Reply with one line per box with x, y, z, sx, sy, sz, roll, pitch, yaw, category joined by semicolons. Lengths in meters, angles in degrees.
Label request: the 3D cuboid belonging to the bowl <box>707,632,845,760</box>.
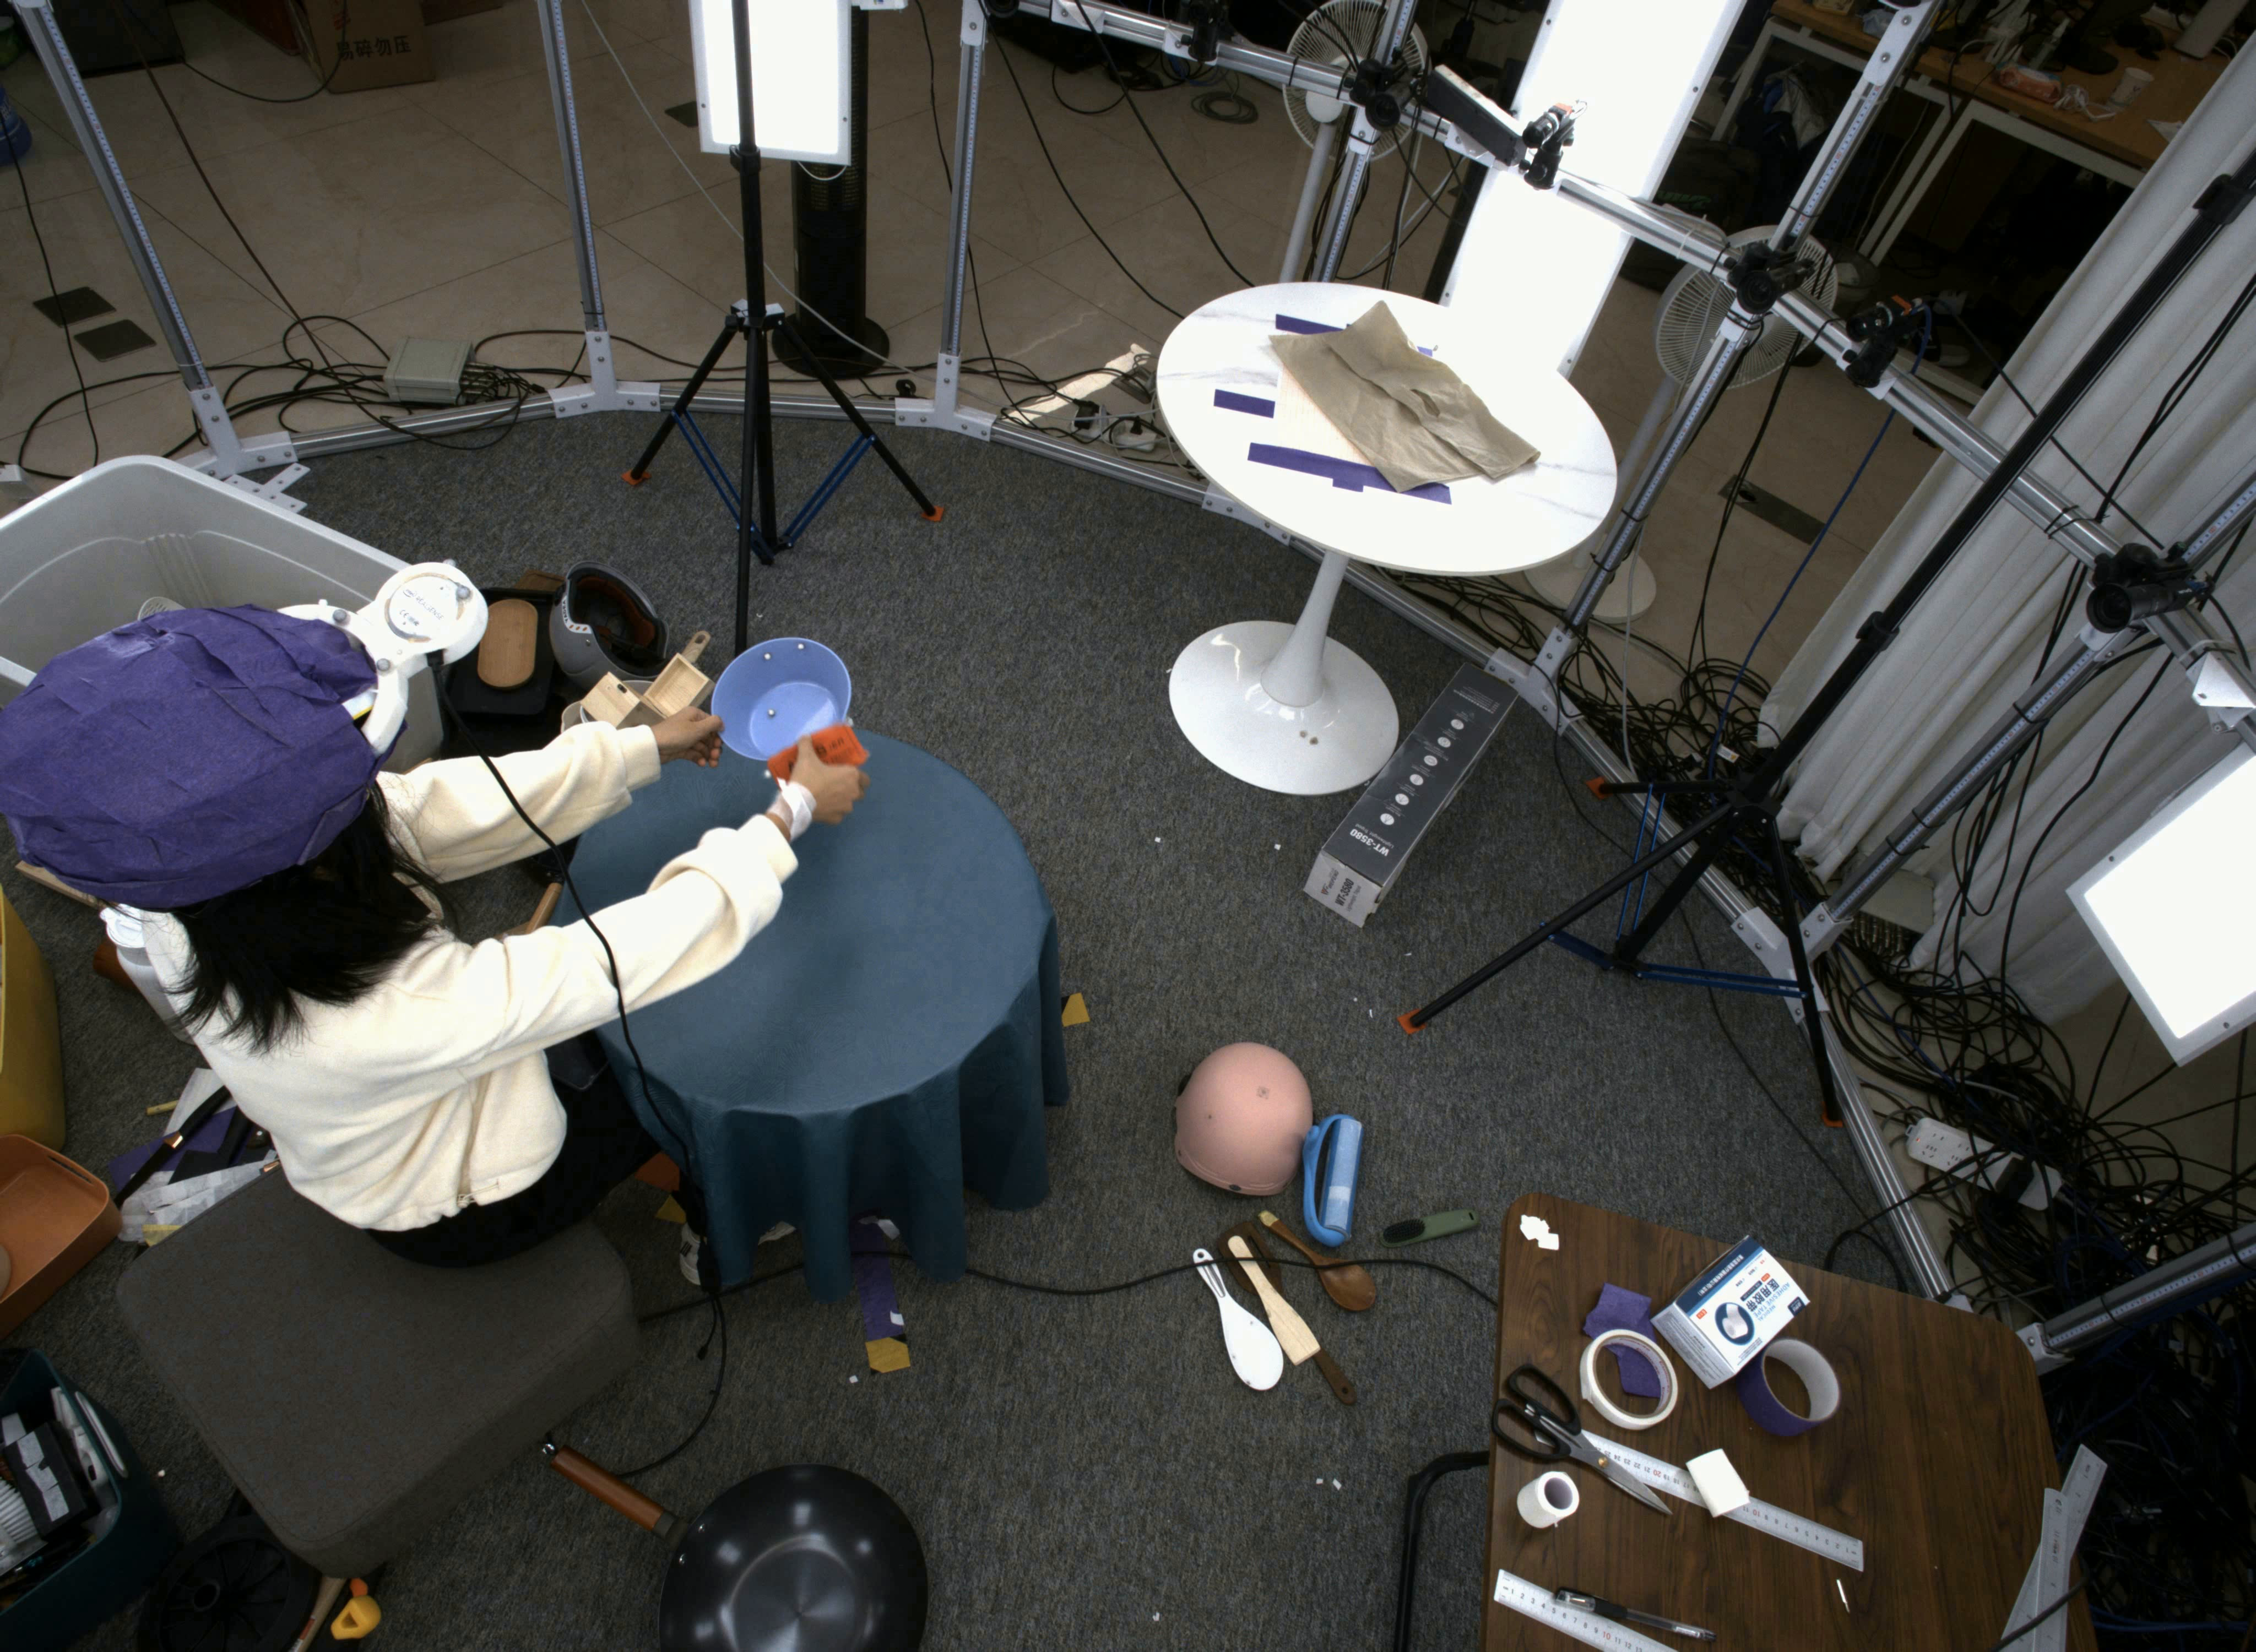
-0.431;-0.149;1.615;0.174;0.072;0.174;0;68;1;bowl

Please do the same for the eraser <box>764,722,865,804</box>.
-0.371;-0.075;1.534;0.108;0.061;0.022;-31;23;-15;eraser
